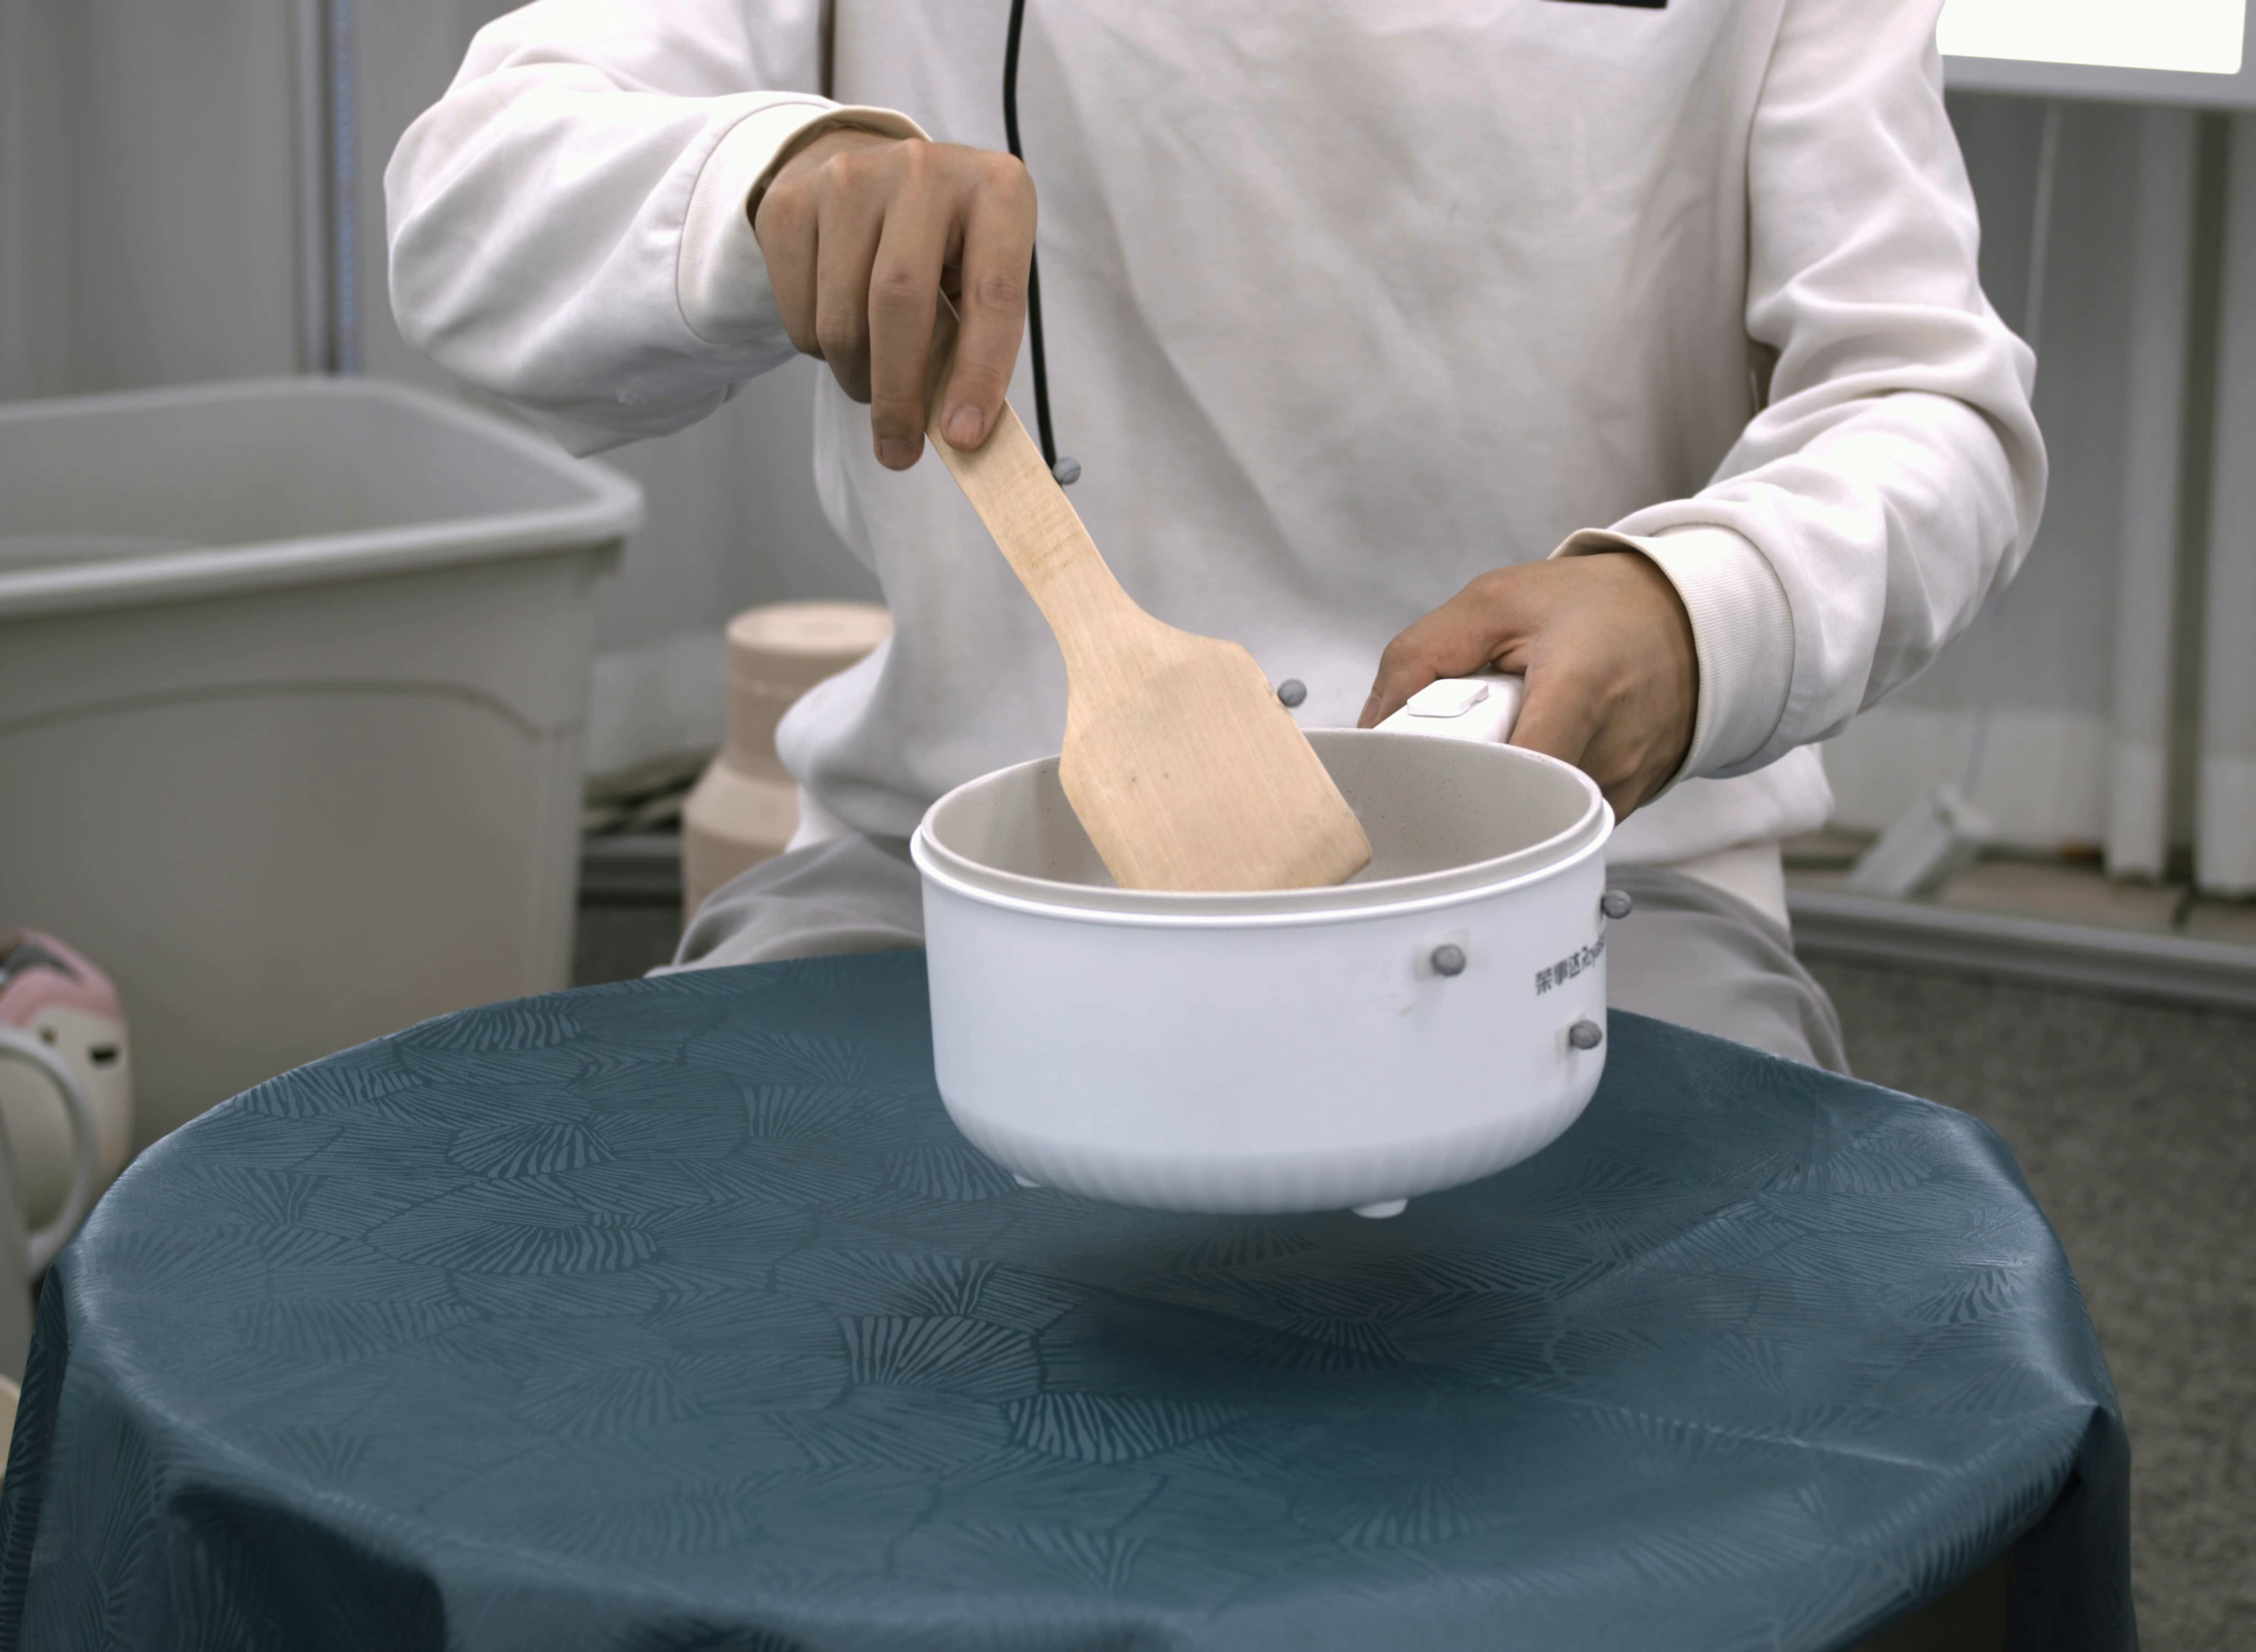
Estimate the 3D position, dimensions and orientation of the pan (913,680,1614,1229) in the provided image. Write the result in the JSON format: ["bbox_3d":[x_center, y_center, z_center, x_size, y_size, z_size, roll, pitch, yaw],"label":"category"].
[{"bbox_3d":[0.071,0.034,1.585,0.199,0.103,0.355,-1,11,23],"label":"pan"}]
